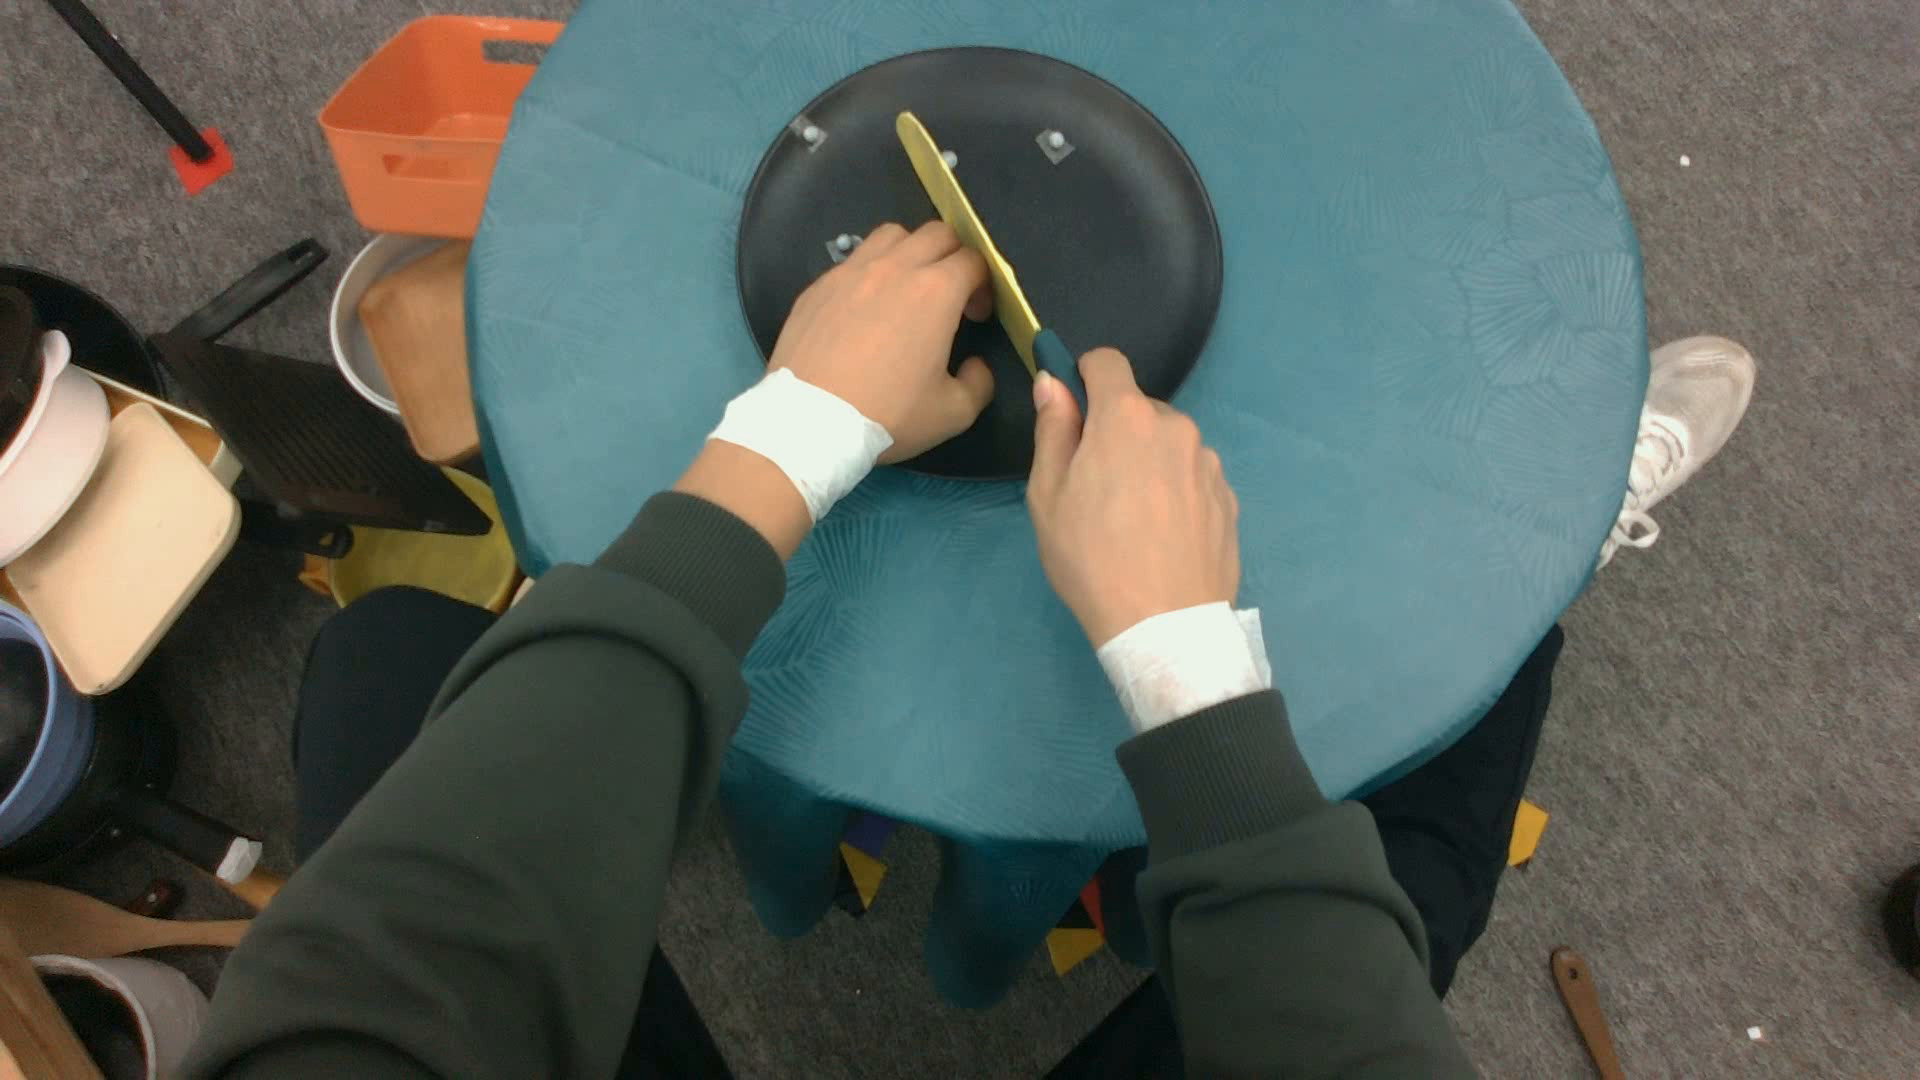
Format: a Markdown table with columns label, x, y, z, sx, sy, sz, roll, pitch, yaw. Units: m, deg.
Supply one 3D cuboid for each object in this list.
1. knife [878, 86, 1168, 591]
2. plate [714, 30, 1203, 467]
| label | x | y | z | sx | sy | sz | roll | pitch | yaw |
| --- | --- | --- | --- | --- | --- | --- | --- | --- | --- |
| knife | 0.021 | -0.100 | 0.641 | 0.027 | 0.081 | 0.290 | -26 | 72 | -2 |
| plate | 0.000 | -0.149 | 0.693 | 0.244 | 0.023 | 0.245 | 1 | 72 | -3 |
